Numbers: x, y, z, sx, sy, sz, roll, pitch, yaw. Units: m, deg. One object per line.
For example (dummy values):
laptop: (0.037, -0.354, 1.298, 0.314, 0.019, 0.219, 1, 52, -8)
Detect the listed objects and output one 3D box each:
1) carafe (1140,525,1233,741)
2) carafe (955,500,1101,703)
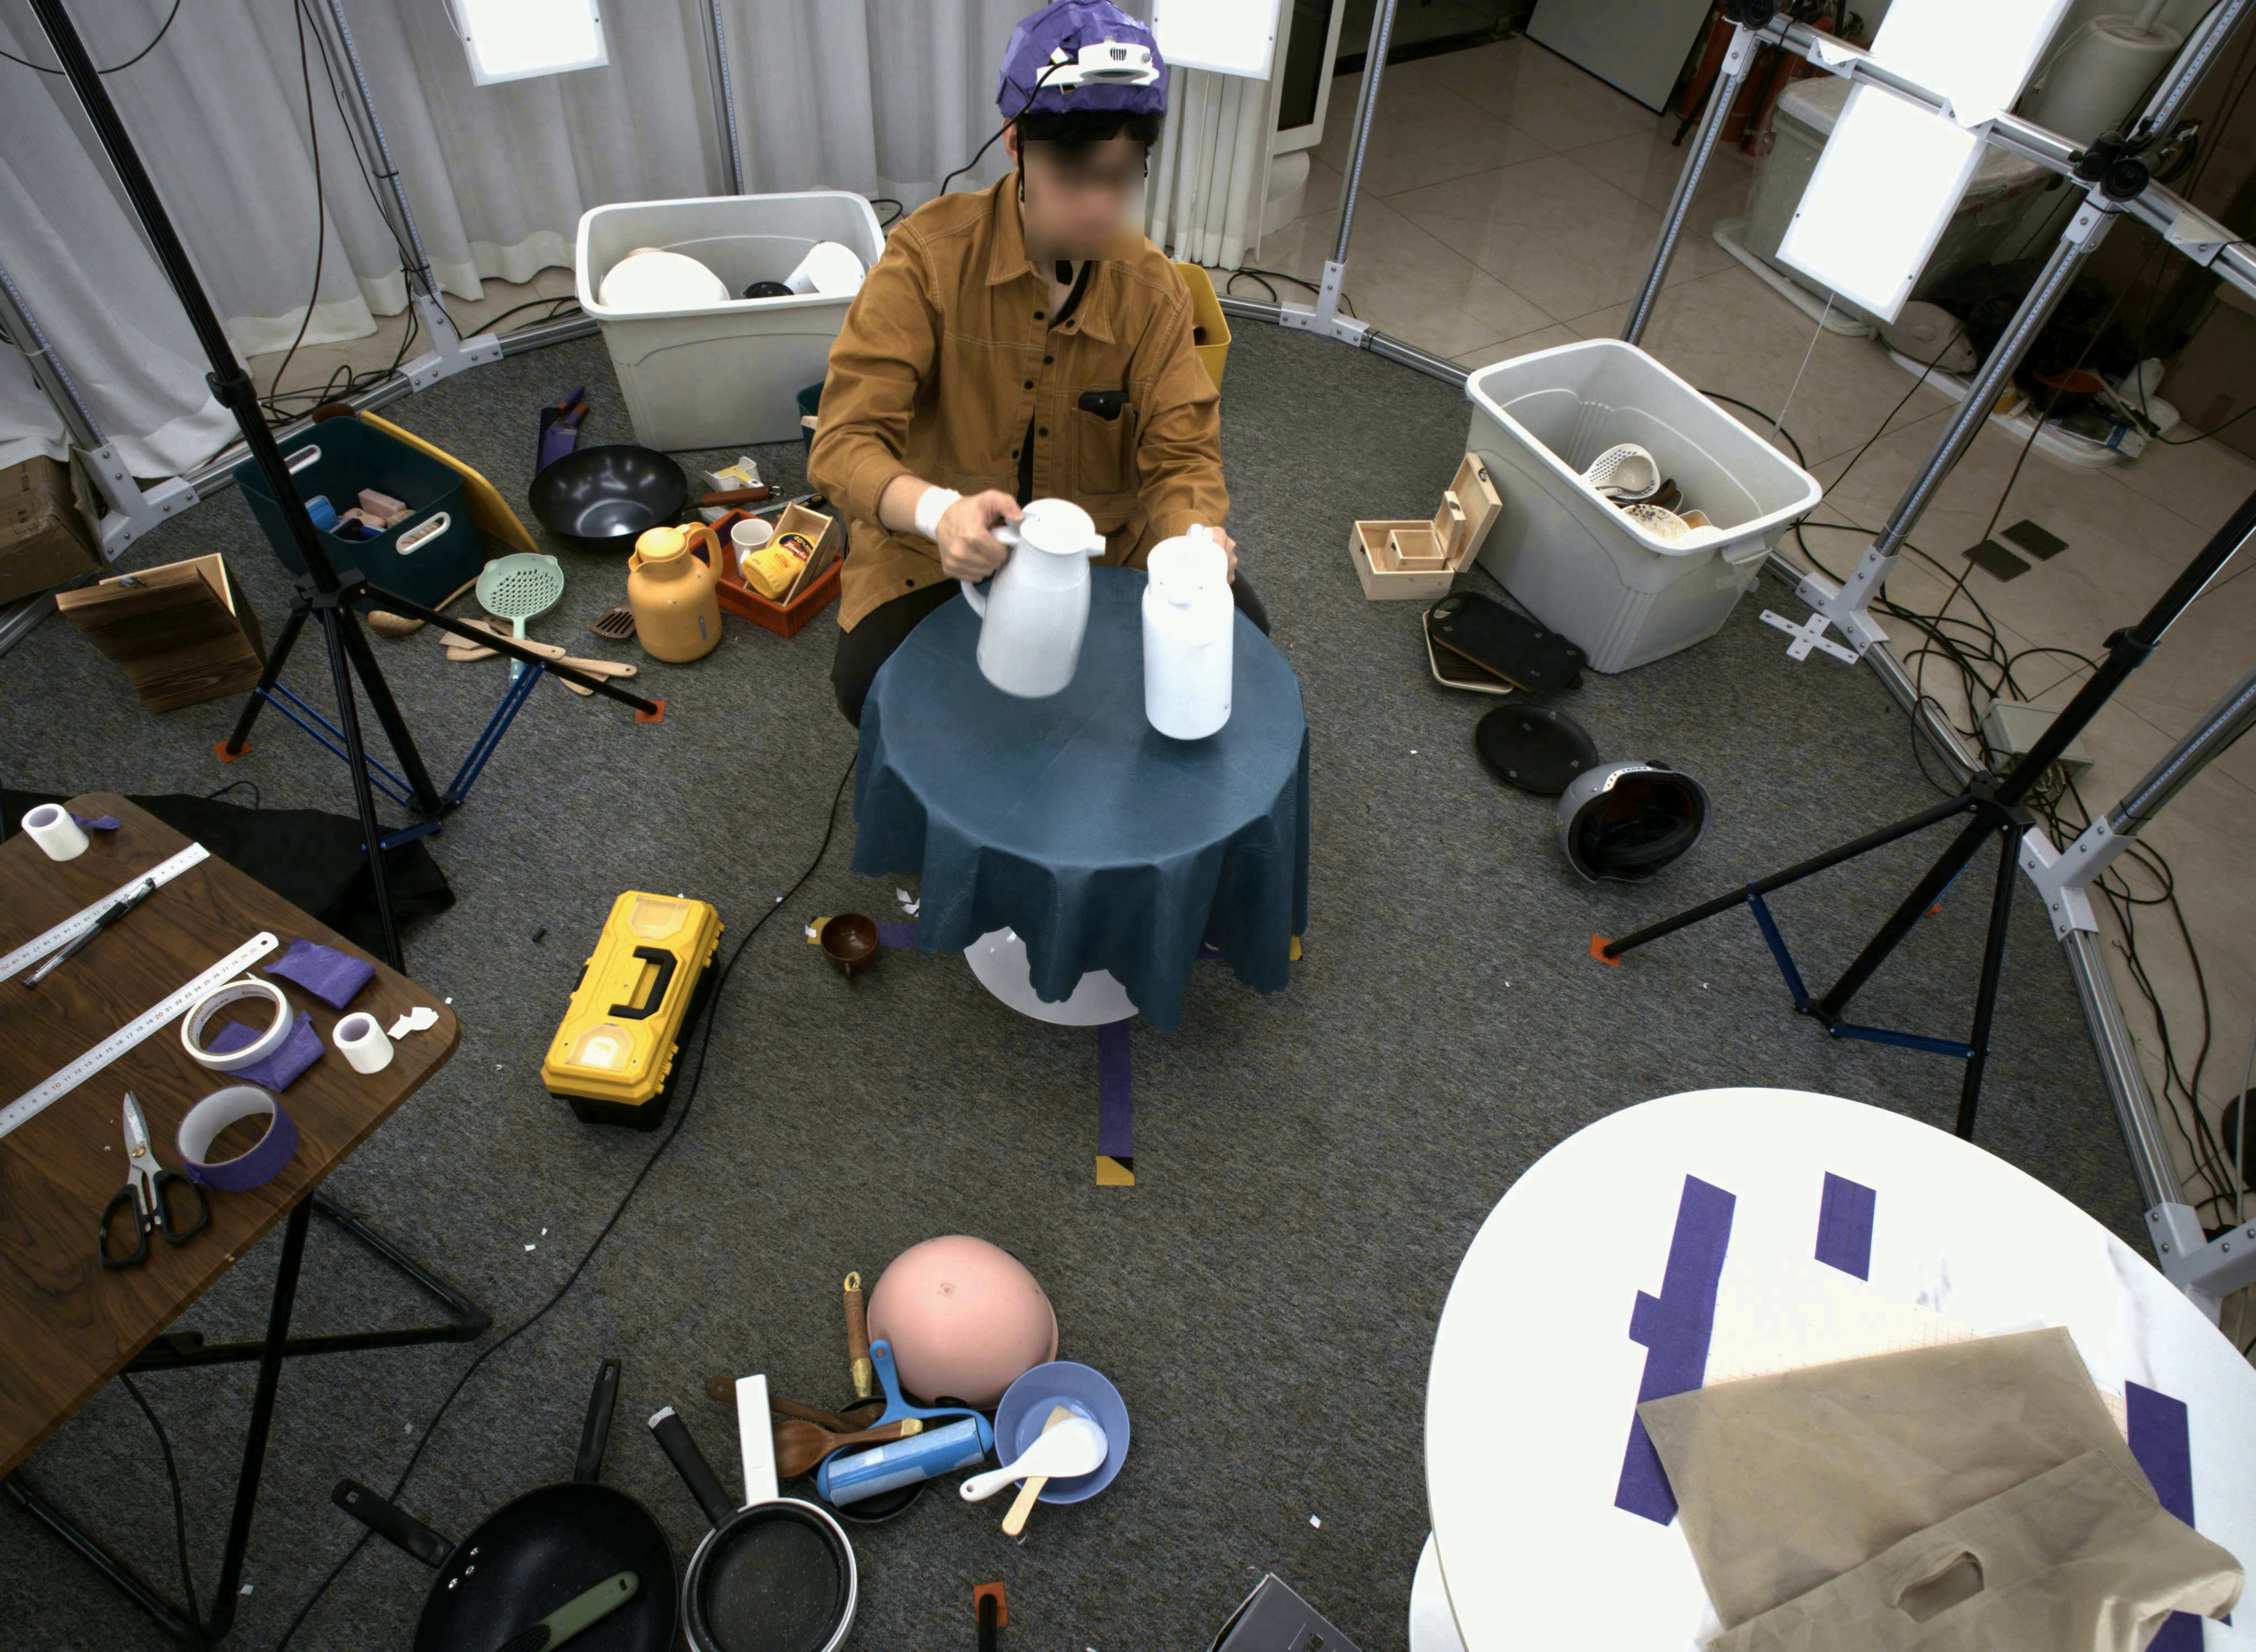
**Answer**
carafe: (0.079, -0.253, 1.673, 0.124, 0.262, 0.177, 6, 50, 11)
carafe: (-0.130, -0.284, 1.589, 0.167, 0.243, 0.136, 8, 53, -7)
